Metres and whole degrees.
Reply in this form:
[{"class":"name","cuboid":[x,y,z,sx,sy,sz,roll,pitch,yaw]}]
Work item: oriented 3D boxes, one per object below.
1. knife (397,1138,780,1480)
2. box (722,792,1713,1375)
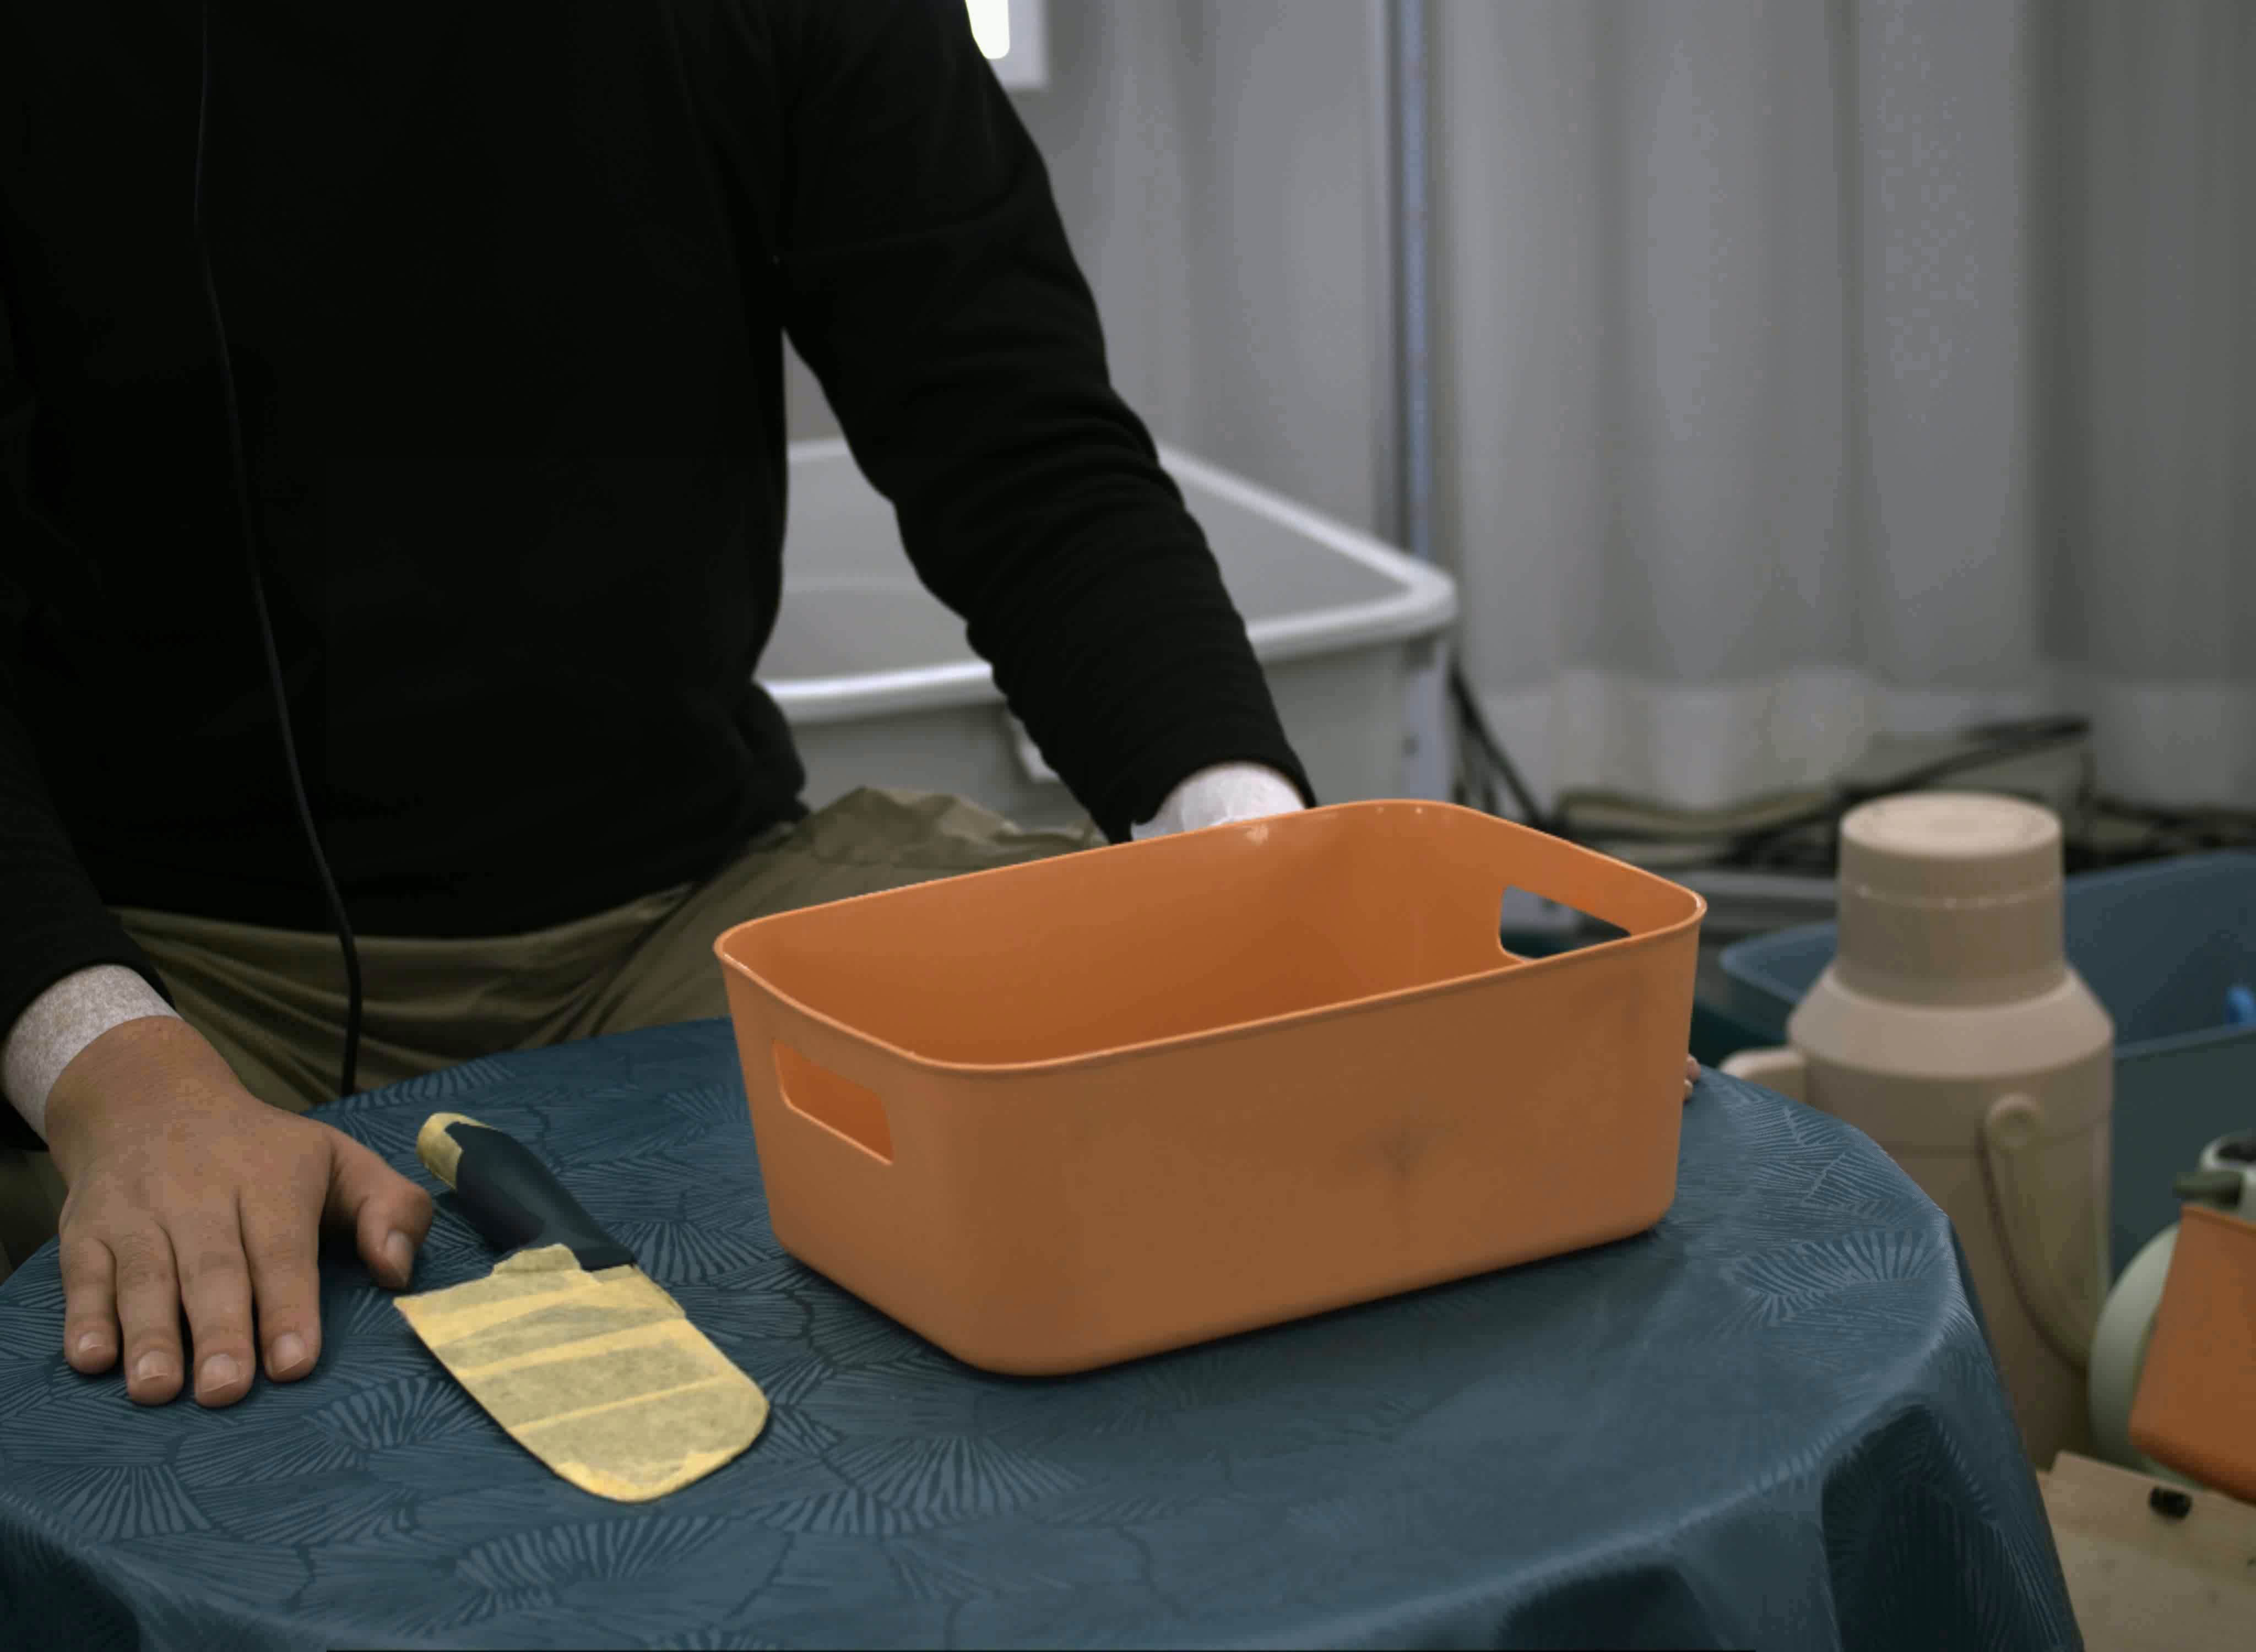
[{"class":"knife","cuboid":[-0.173,0.143,1.615,0.080,0.027,0.292,-6,16,-21]},{"class":"box","cuboid":[0.027,0.075,1.657,0.272,0.102,0.201,-11,17,-27]}]
